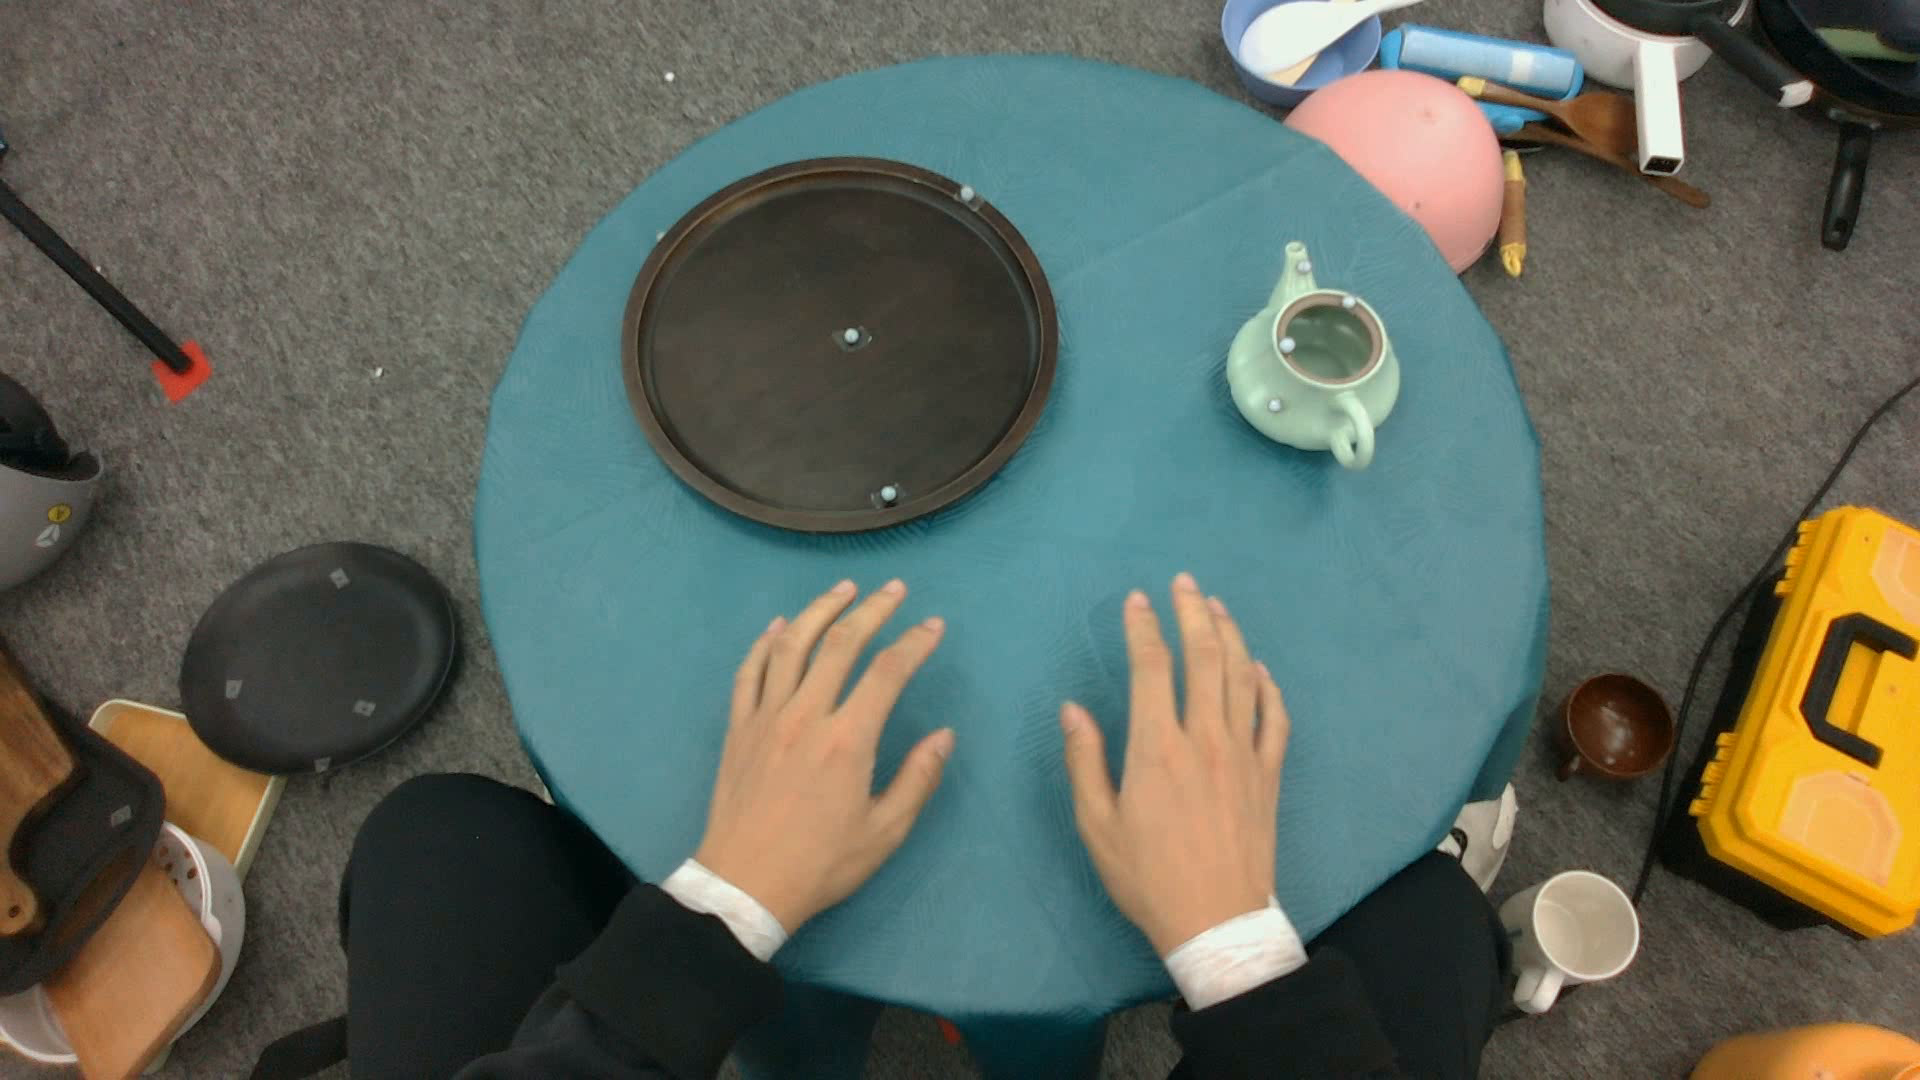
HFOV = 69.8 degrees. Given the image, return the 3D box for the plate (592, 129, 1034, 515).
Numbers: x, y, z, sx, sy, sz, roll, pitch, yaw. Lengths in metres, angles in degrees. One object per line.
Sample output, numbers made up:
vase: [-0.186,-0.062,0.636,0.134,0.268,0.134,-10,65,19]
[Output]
plate: [-0.084,-0.129,0.796,0.255,0.029,0.255,1,66,-1]

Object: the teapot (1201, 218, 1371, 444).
teapot: [0.188,-0.110,0.773,0.096,0.061,0.137,-14,68,-8]
